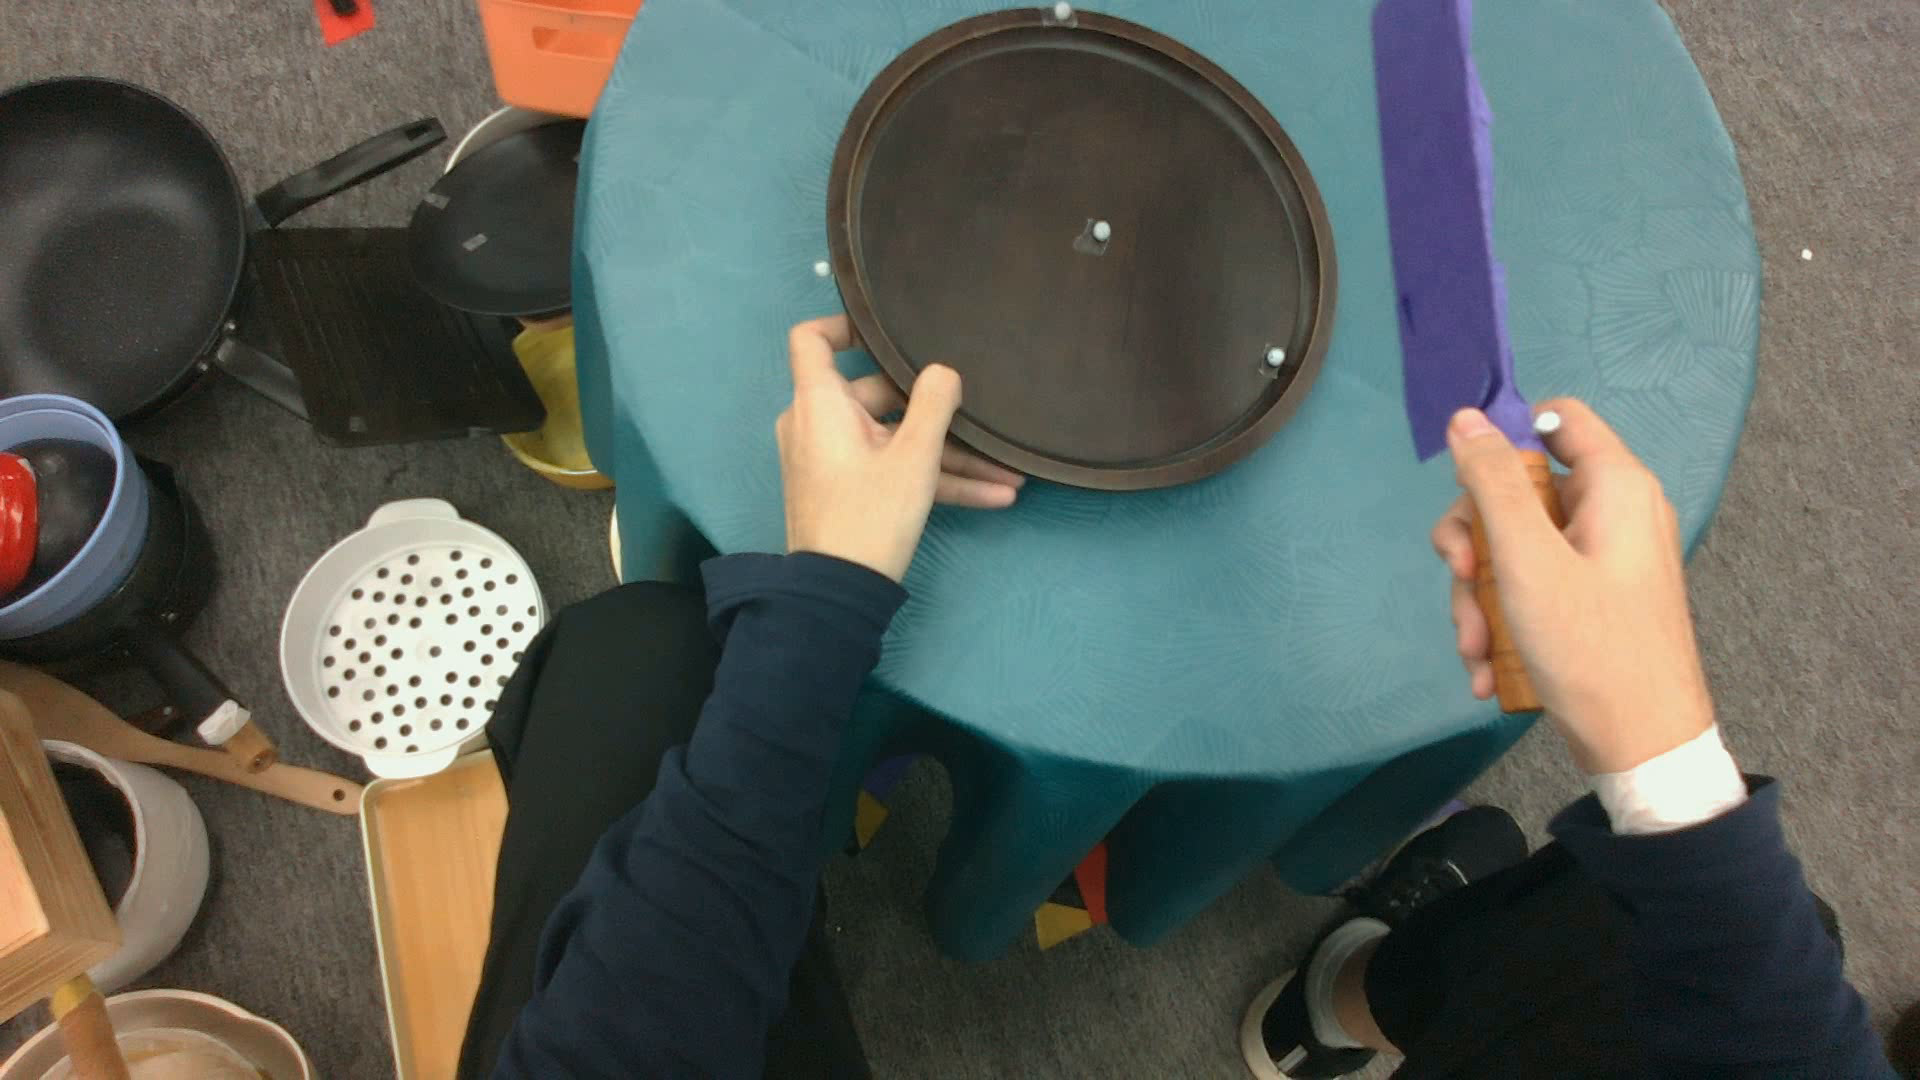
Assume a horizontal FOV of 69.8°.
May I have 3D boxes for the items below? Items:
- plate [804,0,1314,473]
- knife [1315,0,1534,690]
[{"bbox_3d":[0.051,-0.150,0.655,0.255,0.029,0.255,5,71,-14],"label":"plate"},{"bbox_3d":[0.171,-0.100,0.527,0.032,0.103,0.315,-3,81,-4],"label":"knife"}]
